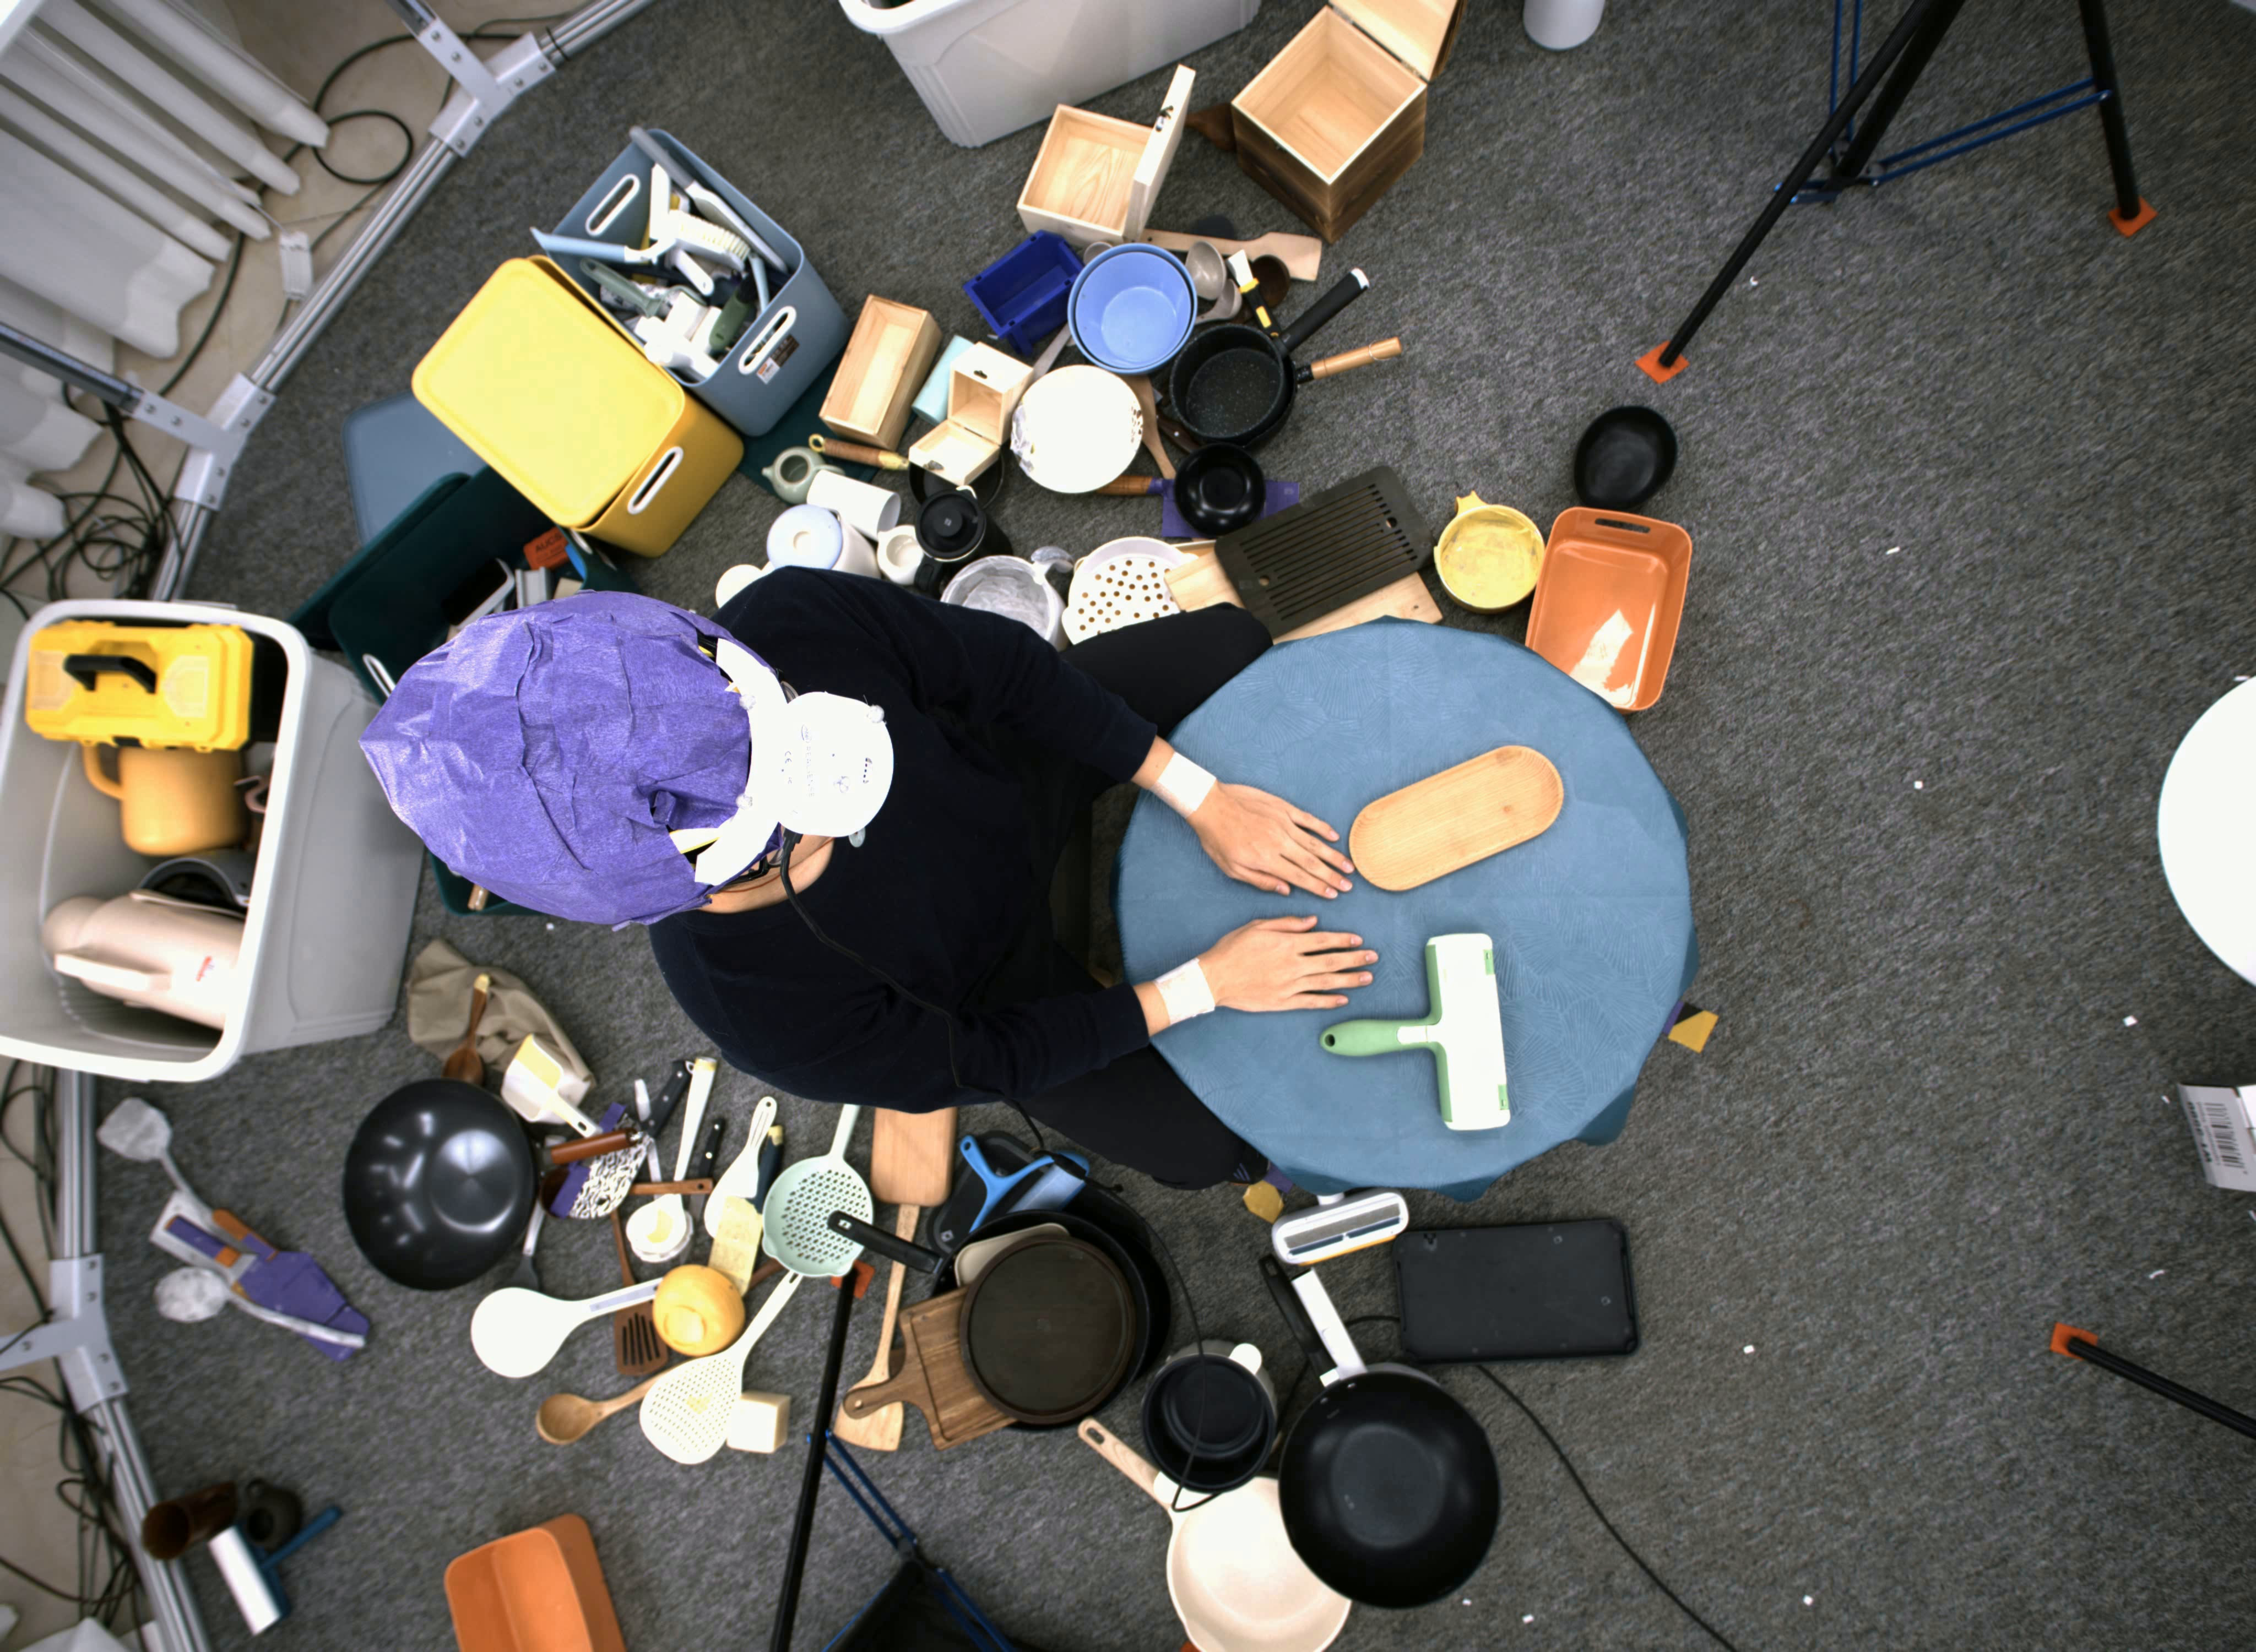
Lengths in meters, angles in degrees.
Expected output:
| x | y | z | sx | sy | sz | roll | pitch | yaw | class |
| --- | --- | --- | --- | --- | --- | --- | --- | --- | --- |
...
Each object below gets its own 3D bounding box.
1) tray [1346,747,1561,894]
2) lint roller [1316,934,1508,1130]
| x | y | z | sx | sy | sz | roll | pitch | yaw | class |
| --- | --- | --- | --- | --- | --- | --- | --- | --- | --- |
| 0.340 | -0.007 | 1.443 | 0.233 | 0.020 | 0.101 | -24 | 82 | 10 | tray |
| 0.285 | 0.212 | 1.405 | 0.184 | 0.082 | 0.197 | -6 | 85 | 4 | lint roller |
